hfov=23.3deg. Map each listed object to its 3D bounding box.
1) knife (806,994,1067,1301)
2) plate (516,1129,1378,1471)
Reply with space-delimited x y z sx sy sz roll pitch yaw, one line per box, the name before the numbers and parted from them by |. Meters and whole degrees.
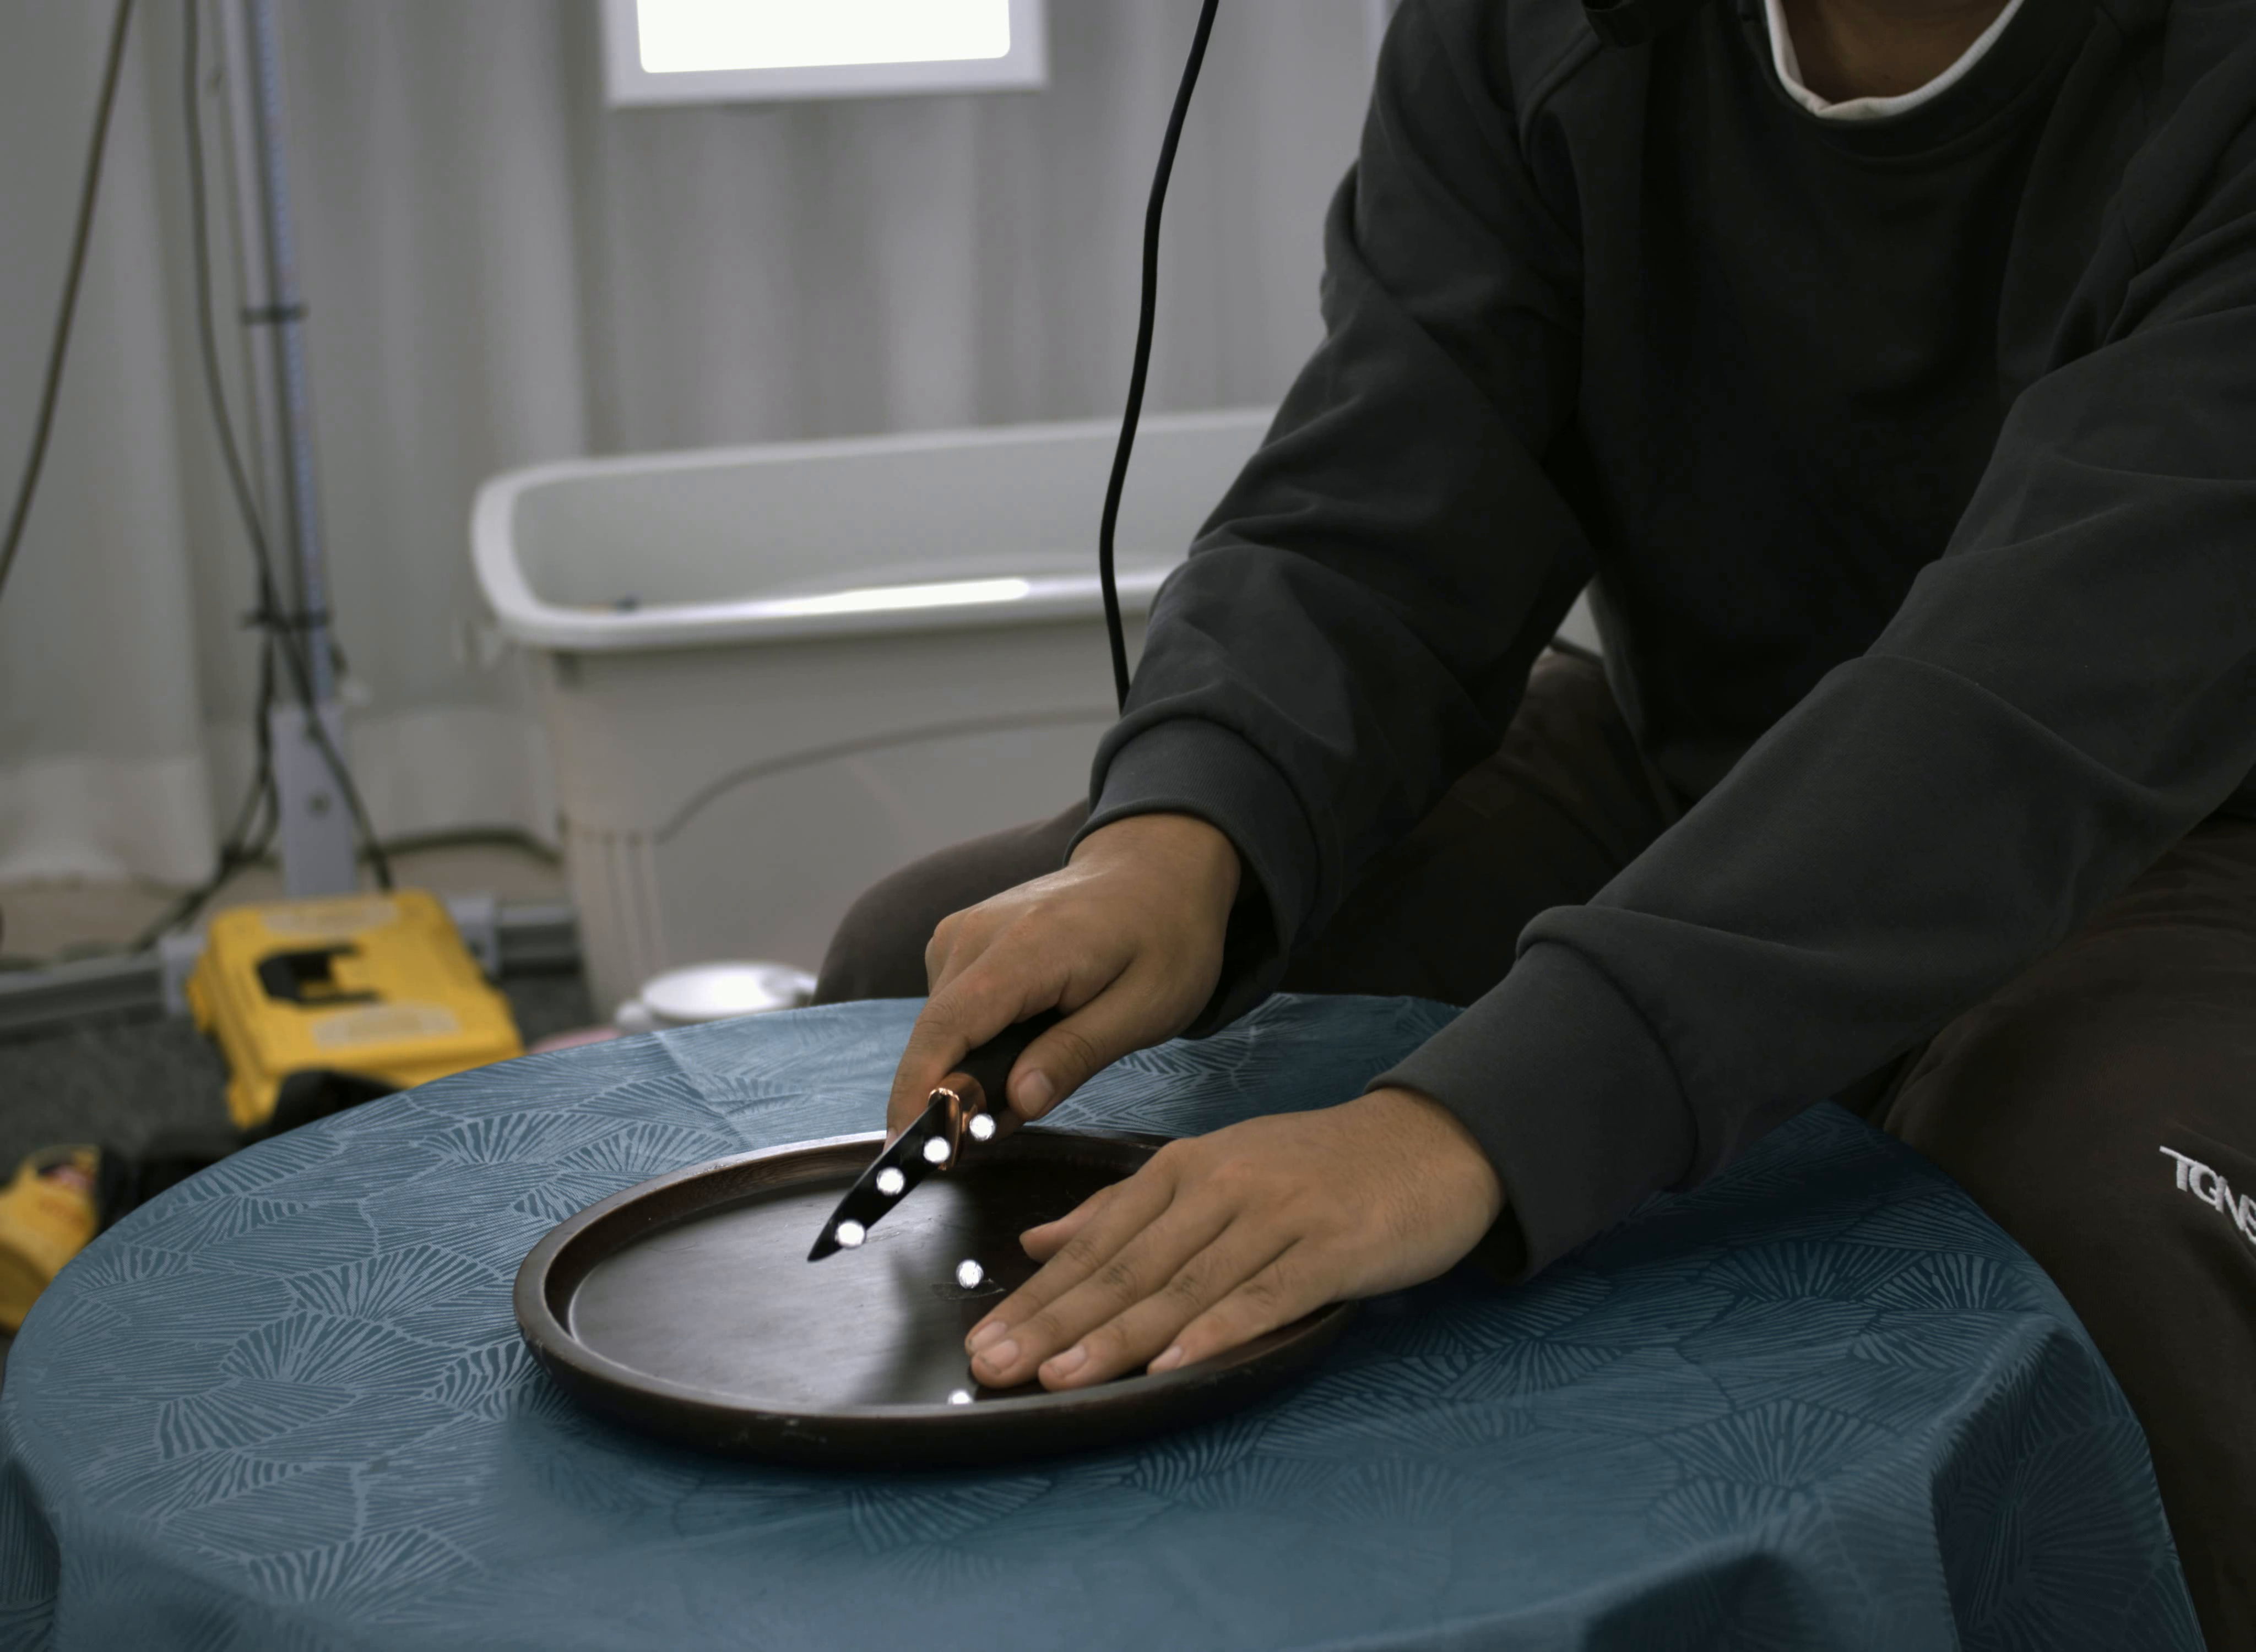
knife | -0.057 0.094 1.645 0.017 0.026 0.226 9 19 15
plate | -0.052 0.136 1.601 0.254 0.029 0.256 -3 13 0
